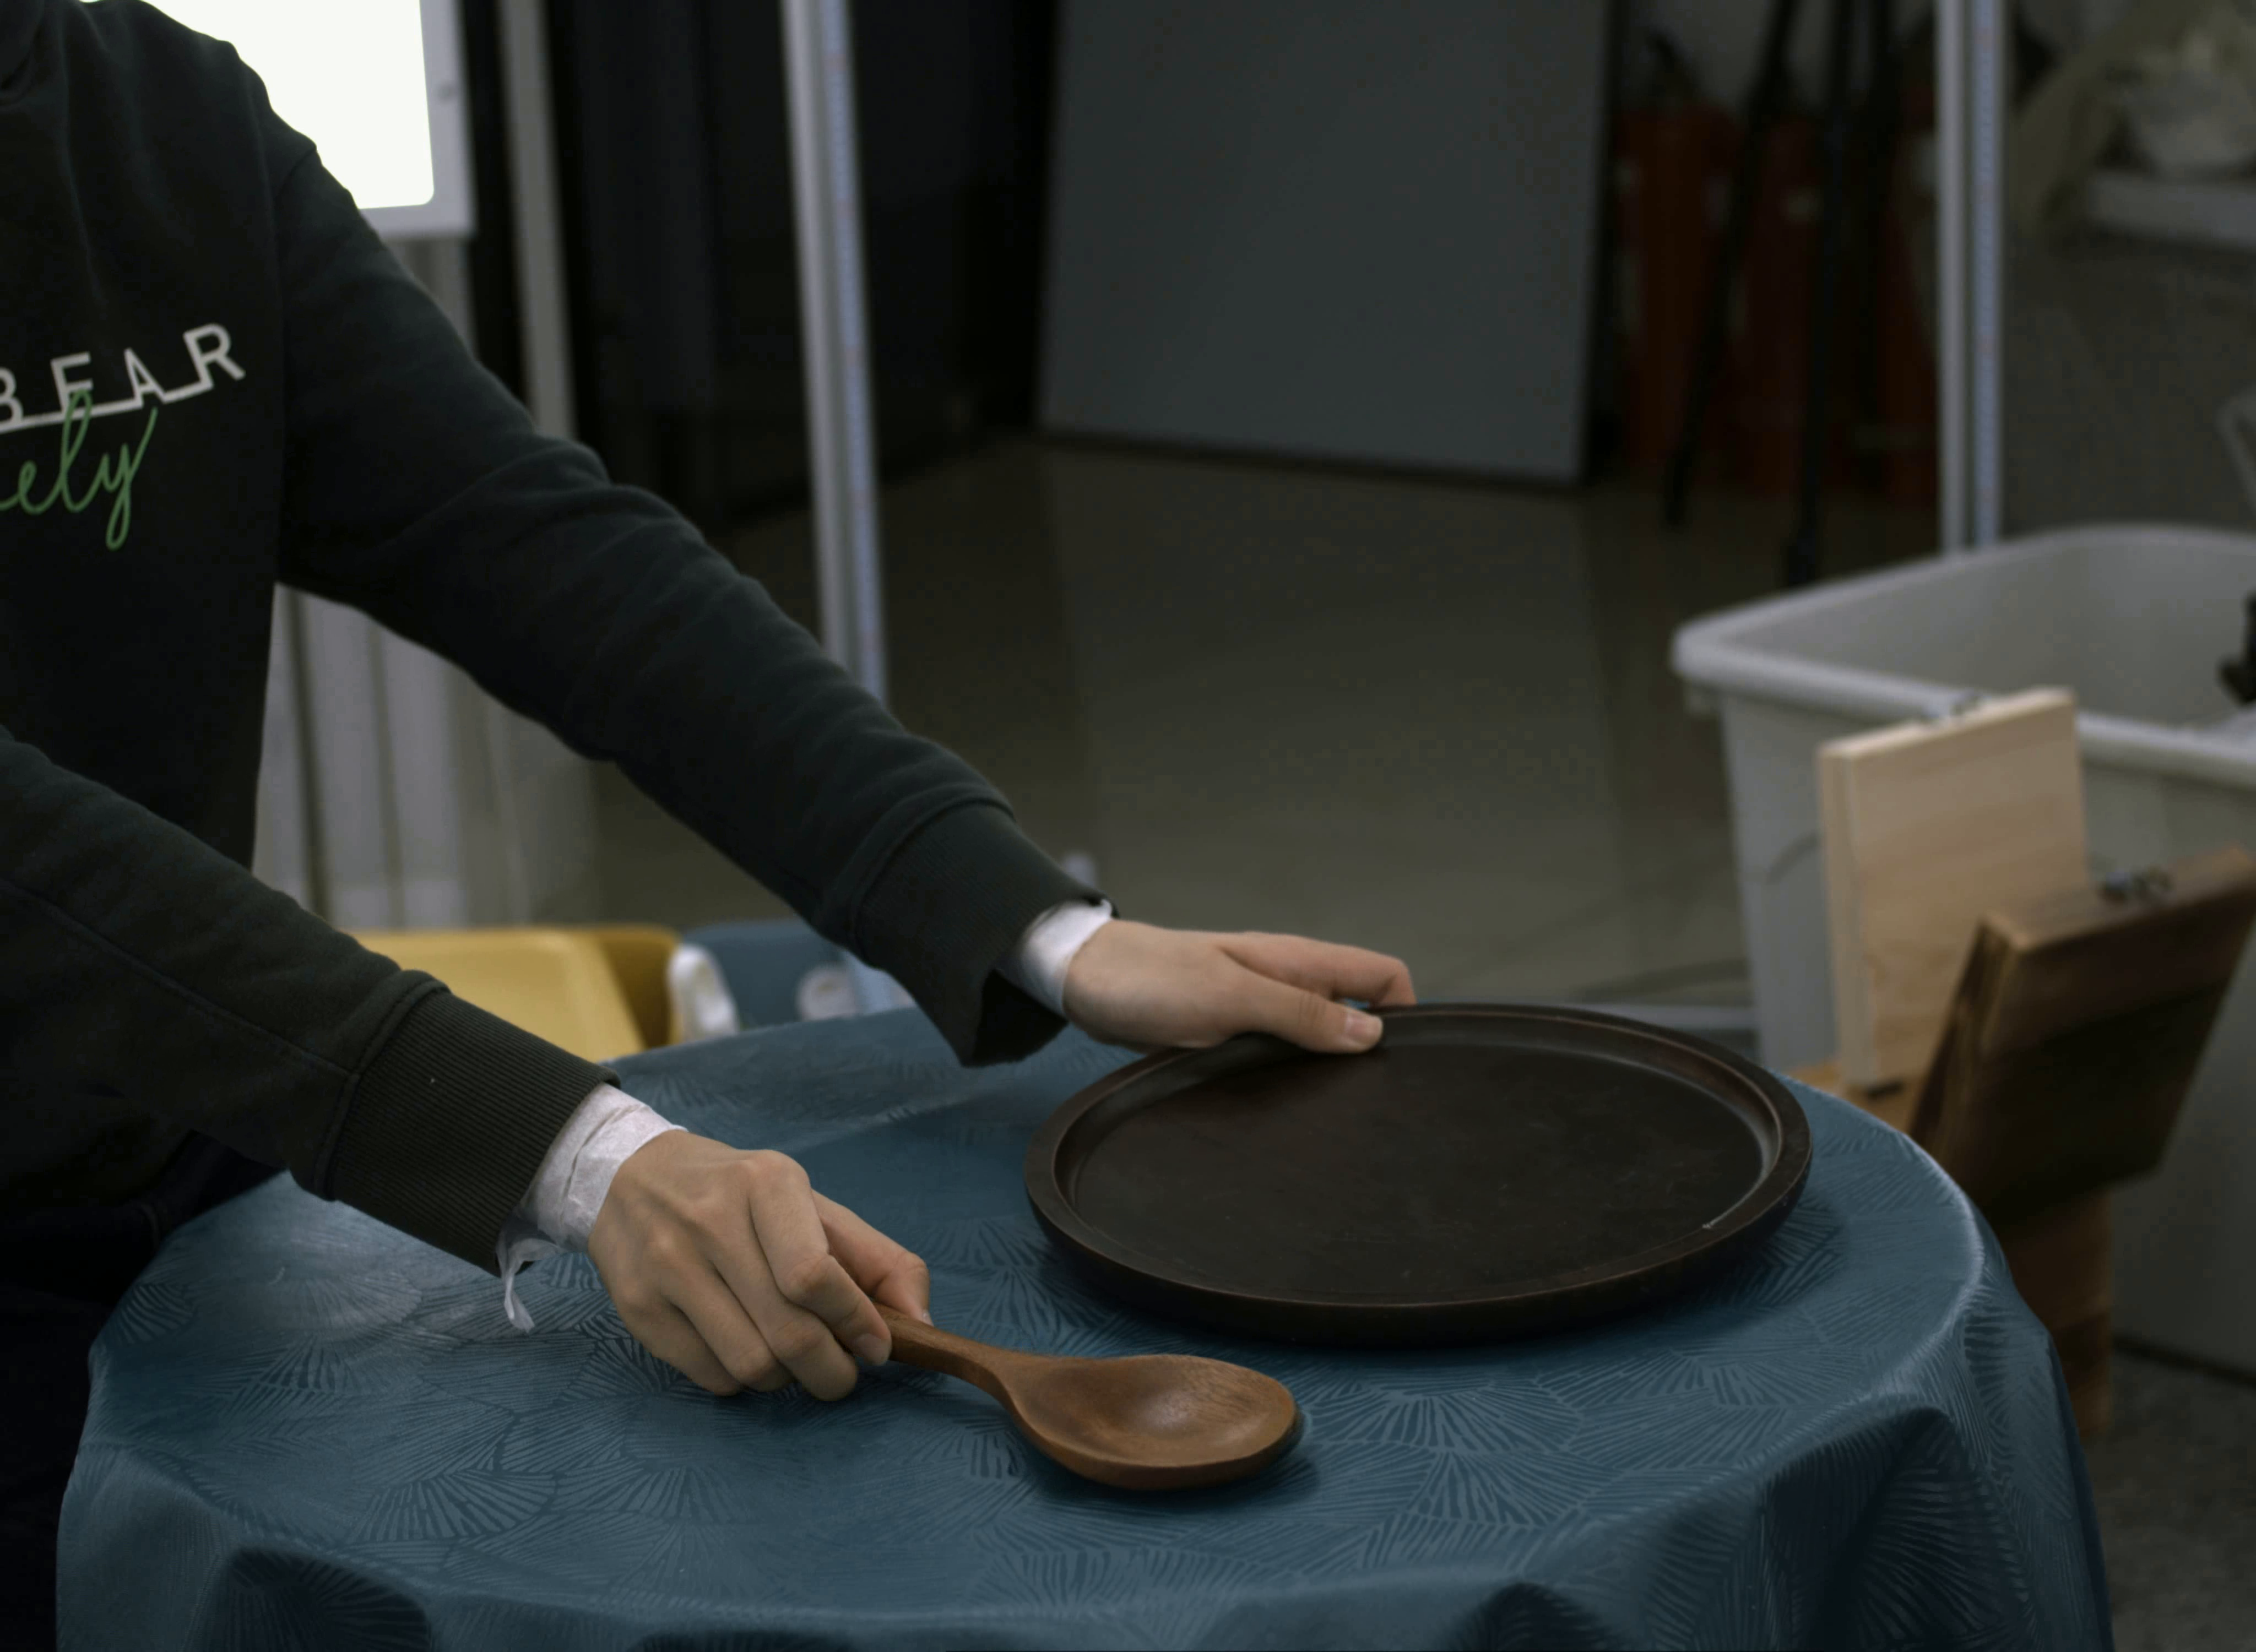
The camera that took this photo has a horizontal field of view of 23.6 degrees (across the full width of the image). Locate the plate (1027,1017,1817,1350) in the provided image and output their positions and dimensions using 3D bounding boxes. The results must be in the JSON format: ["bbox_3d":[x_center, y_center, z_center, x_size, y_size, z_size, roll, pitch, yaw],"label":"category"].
[{"bbox_3d":[0.093,0.110,1.707,0.251,0.029,0.255,-3,18,0],"label":"plate"}]

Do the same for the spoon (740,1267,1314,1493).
[{"bbox_3d":[-0.035,0.160,1.570,0.218,0.017,0.074,14,25,42],"label":"spoon"}]
